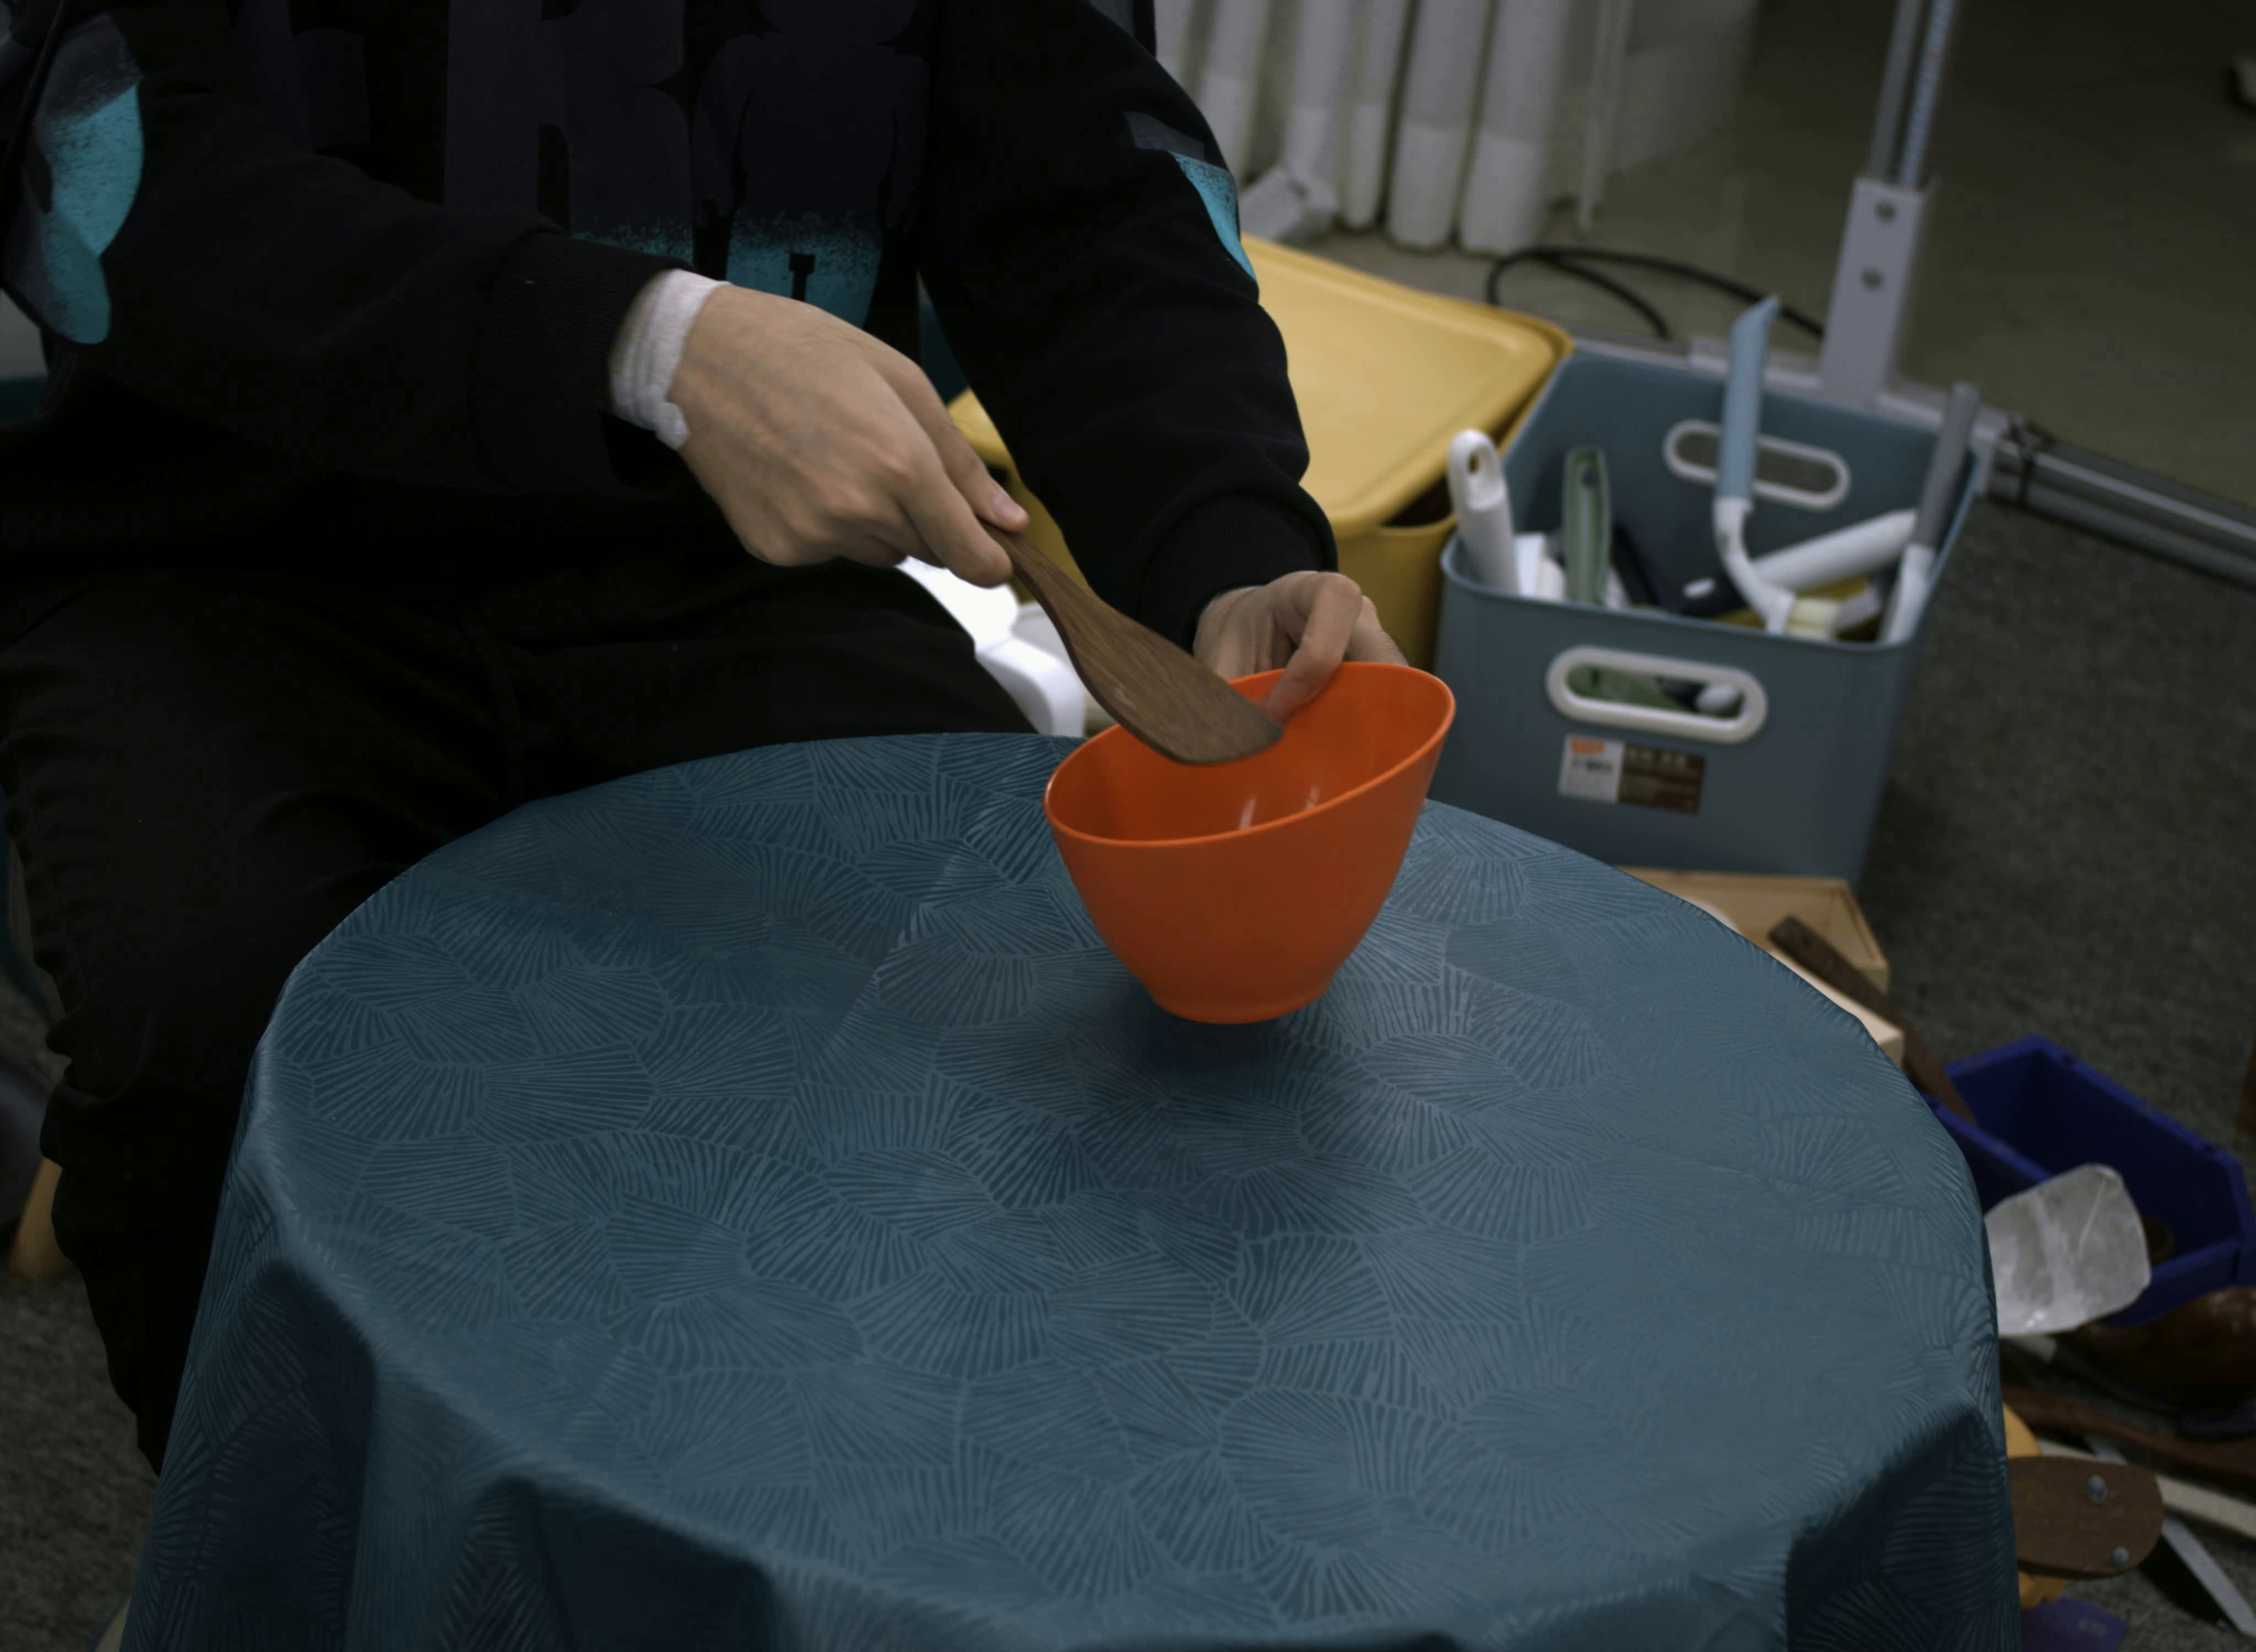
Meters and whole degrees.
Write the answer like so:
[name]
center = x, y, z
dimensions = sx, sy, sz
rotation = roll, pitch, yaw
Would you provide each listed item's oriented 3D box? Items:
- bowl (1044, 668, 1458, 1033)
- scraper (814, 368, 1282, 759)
[bowl]
center = 0.046, 0.013, 1.869
dimensions = 0.147, 0.104, 0.149
rotation = -6, 25, 3
[scraper]
center = -0.034, -0.092, 1.864
dimensions = 0.212, 0.011, 0.075
rotation = 44, 29, 19
